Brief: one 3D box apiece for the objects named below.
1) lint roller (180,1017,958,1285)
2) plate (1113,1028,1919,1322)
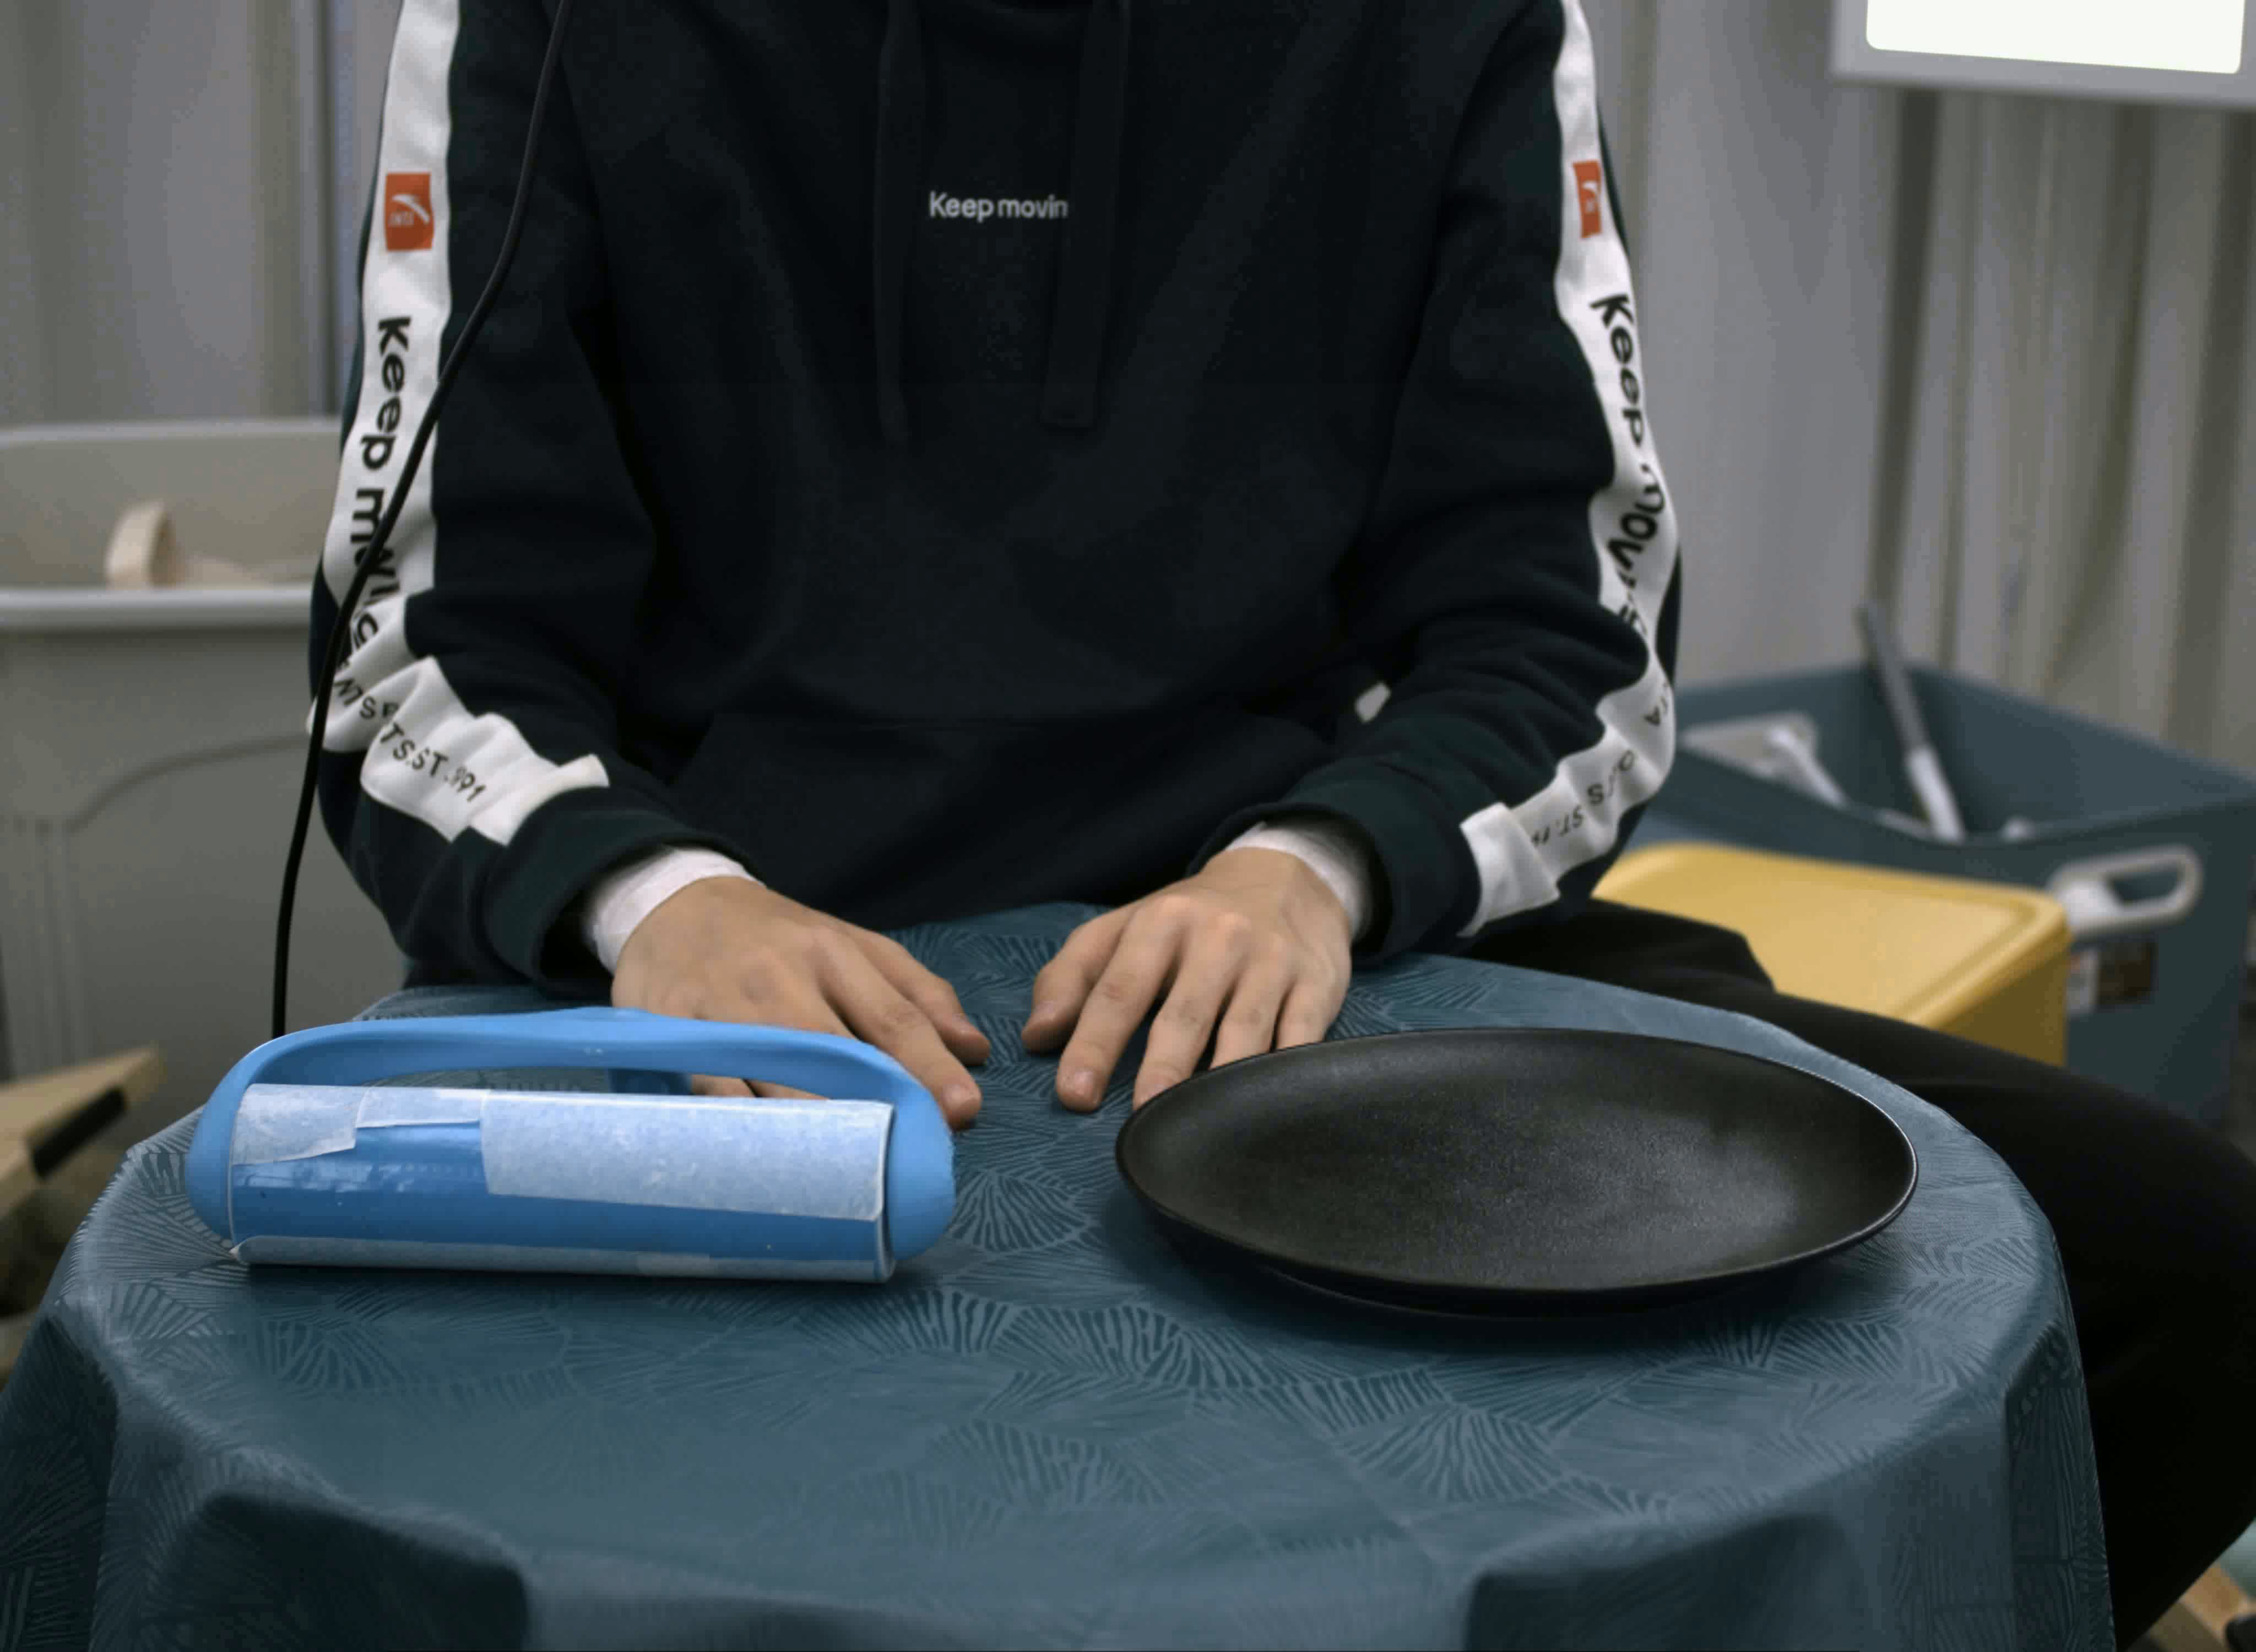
[{"bbox_3d":[-0.162,0.088,1.596,0.228,0.068,0.179,0,15,1],"label":"lint roller"},{"bbox_3d":[0.117,0.108,1.596,0.243,0.023,0.243,1,15,0],"label":"plate"}]
